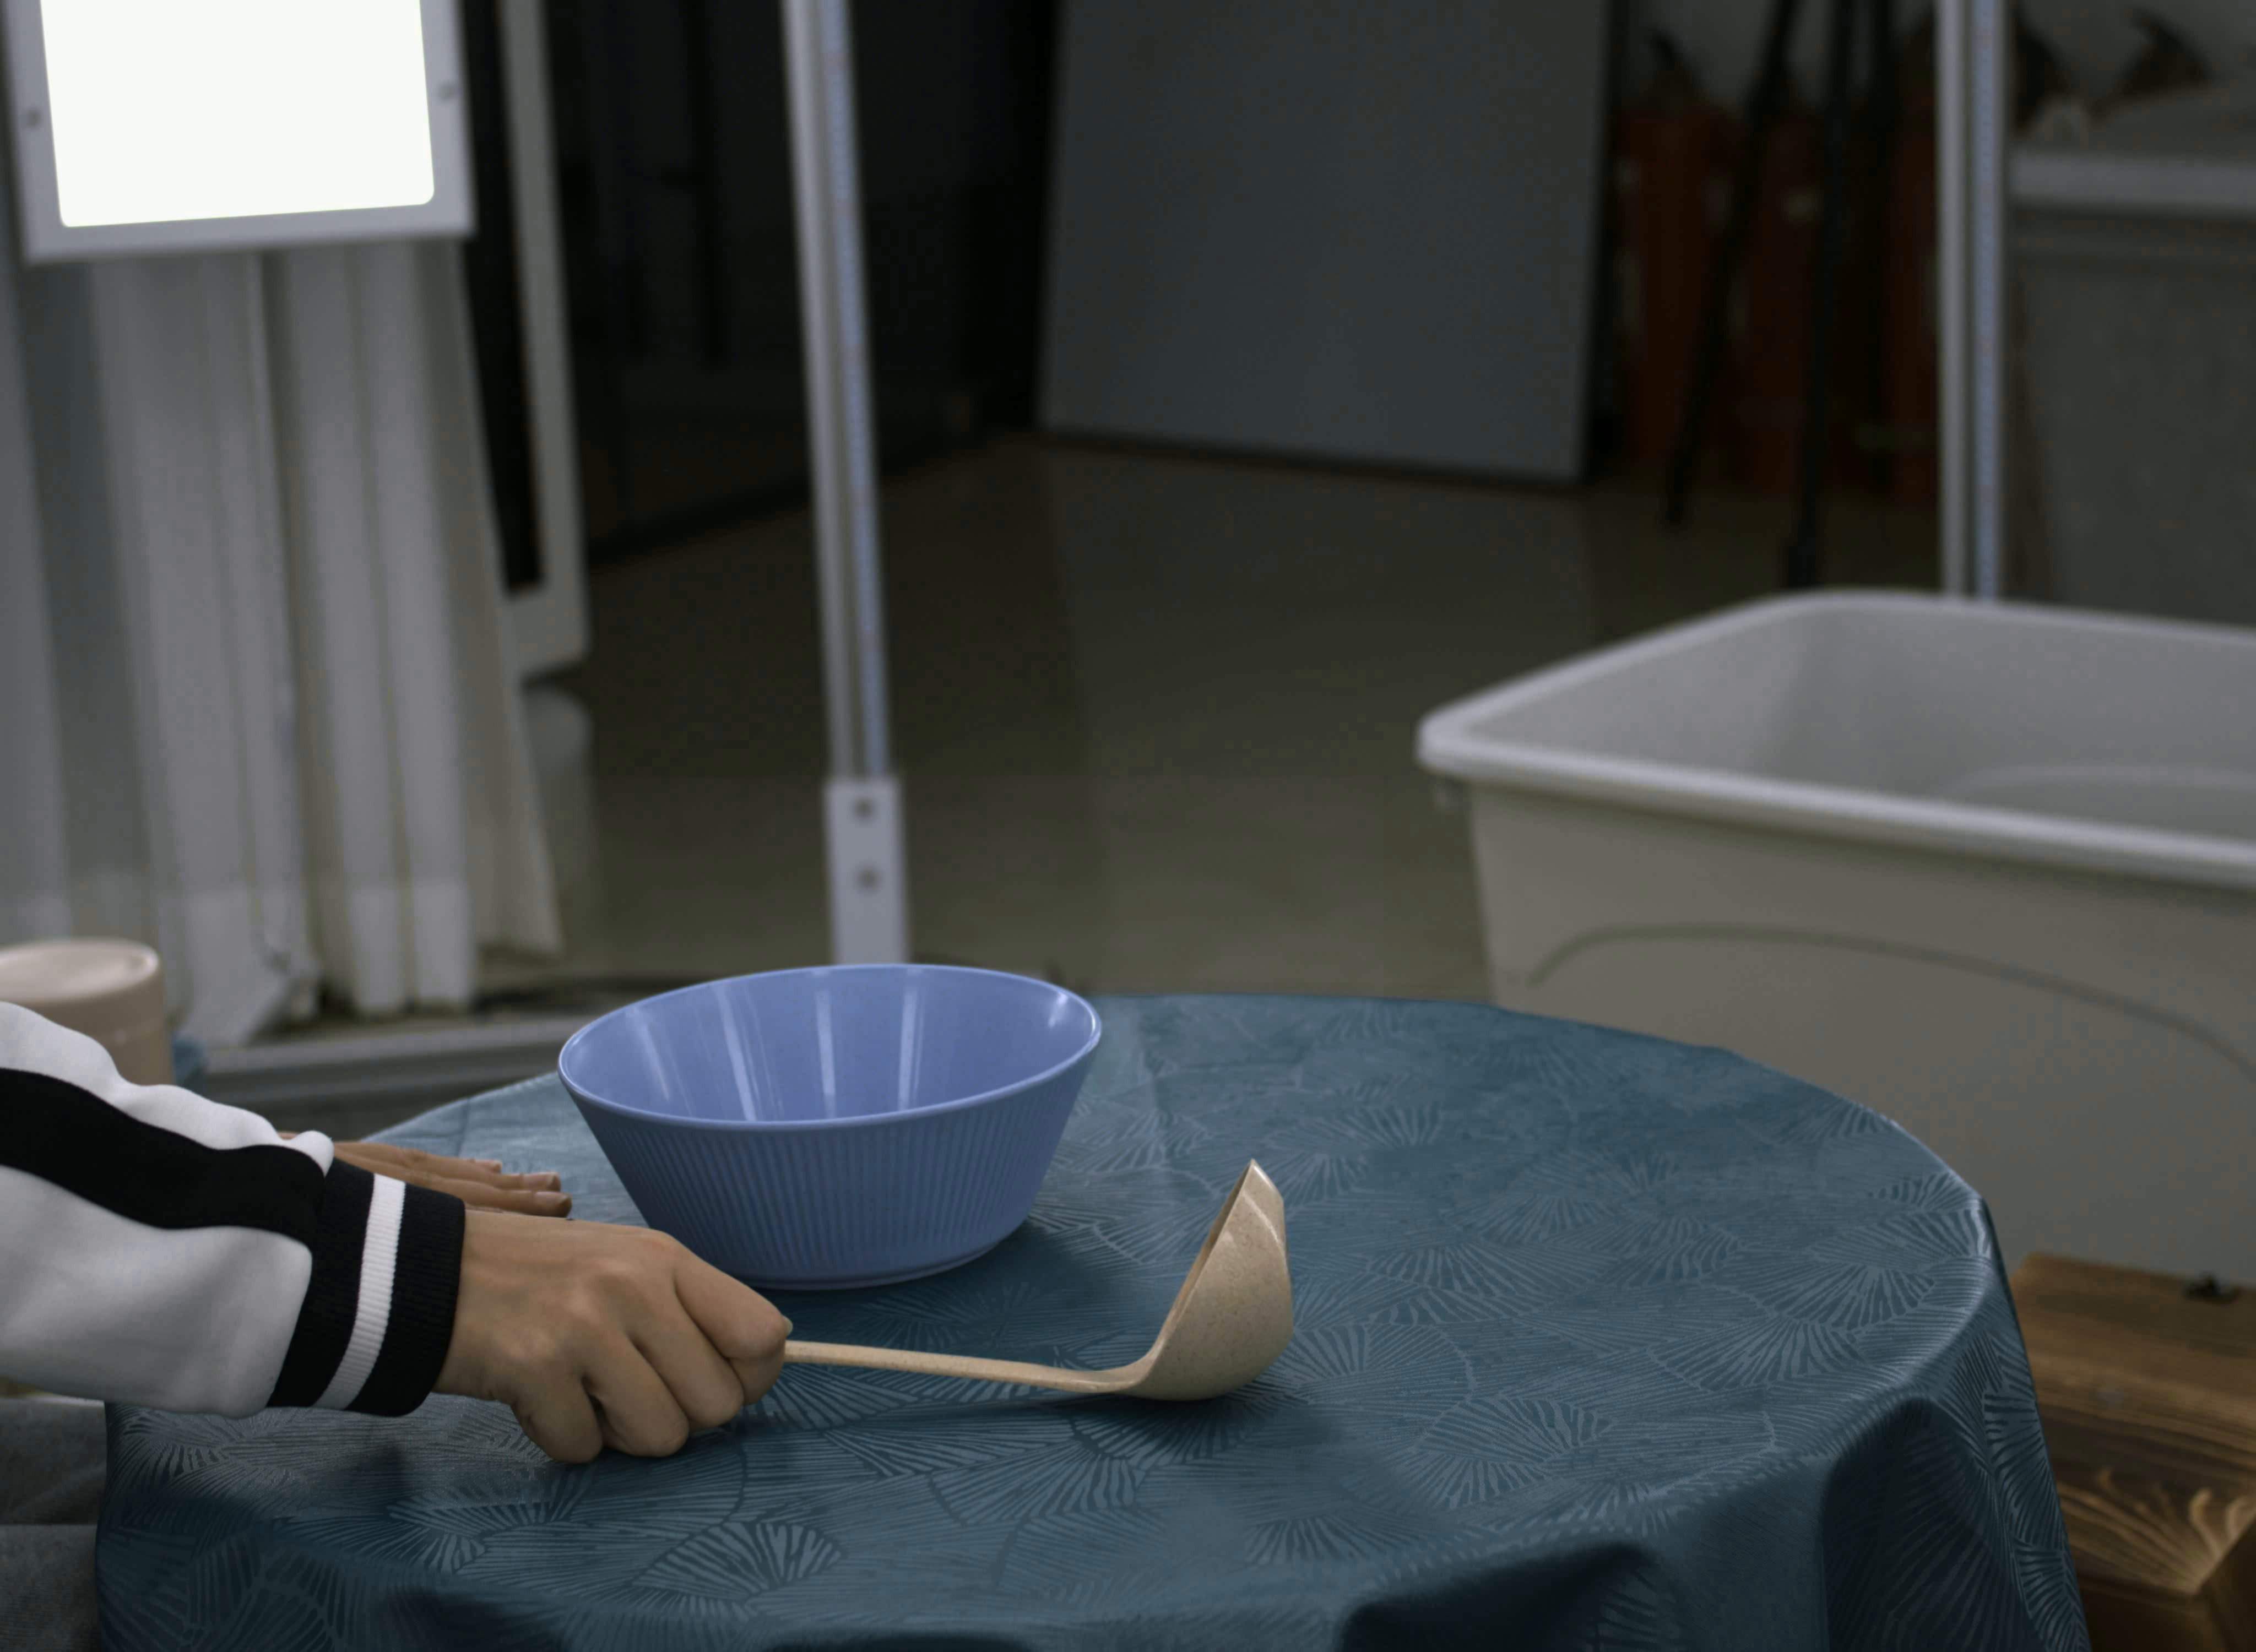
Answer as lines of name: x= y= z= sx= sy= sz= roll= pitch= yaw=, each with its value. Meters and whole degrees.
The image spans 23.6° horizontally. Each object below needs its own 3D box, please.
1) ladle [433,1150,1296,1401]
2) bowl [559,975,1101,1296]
ladle: x=-0.076 y=0.129 z=1.574 sx=0.251 sy=0.074 sz=0.072 roll=1 pitch=2 yaw=2
bowl: x=-0.093 y=0.101 z=1.734 sx=0.174 sy=0.071 sz=0.176 roll=-4 pitch=13 yaw=0
